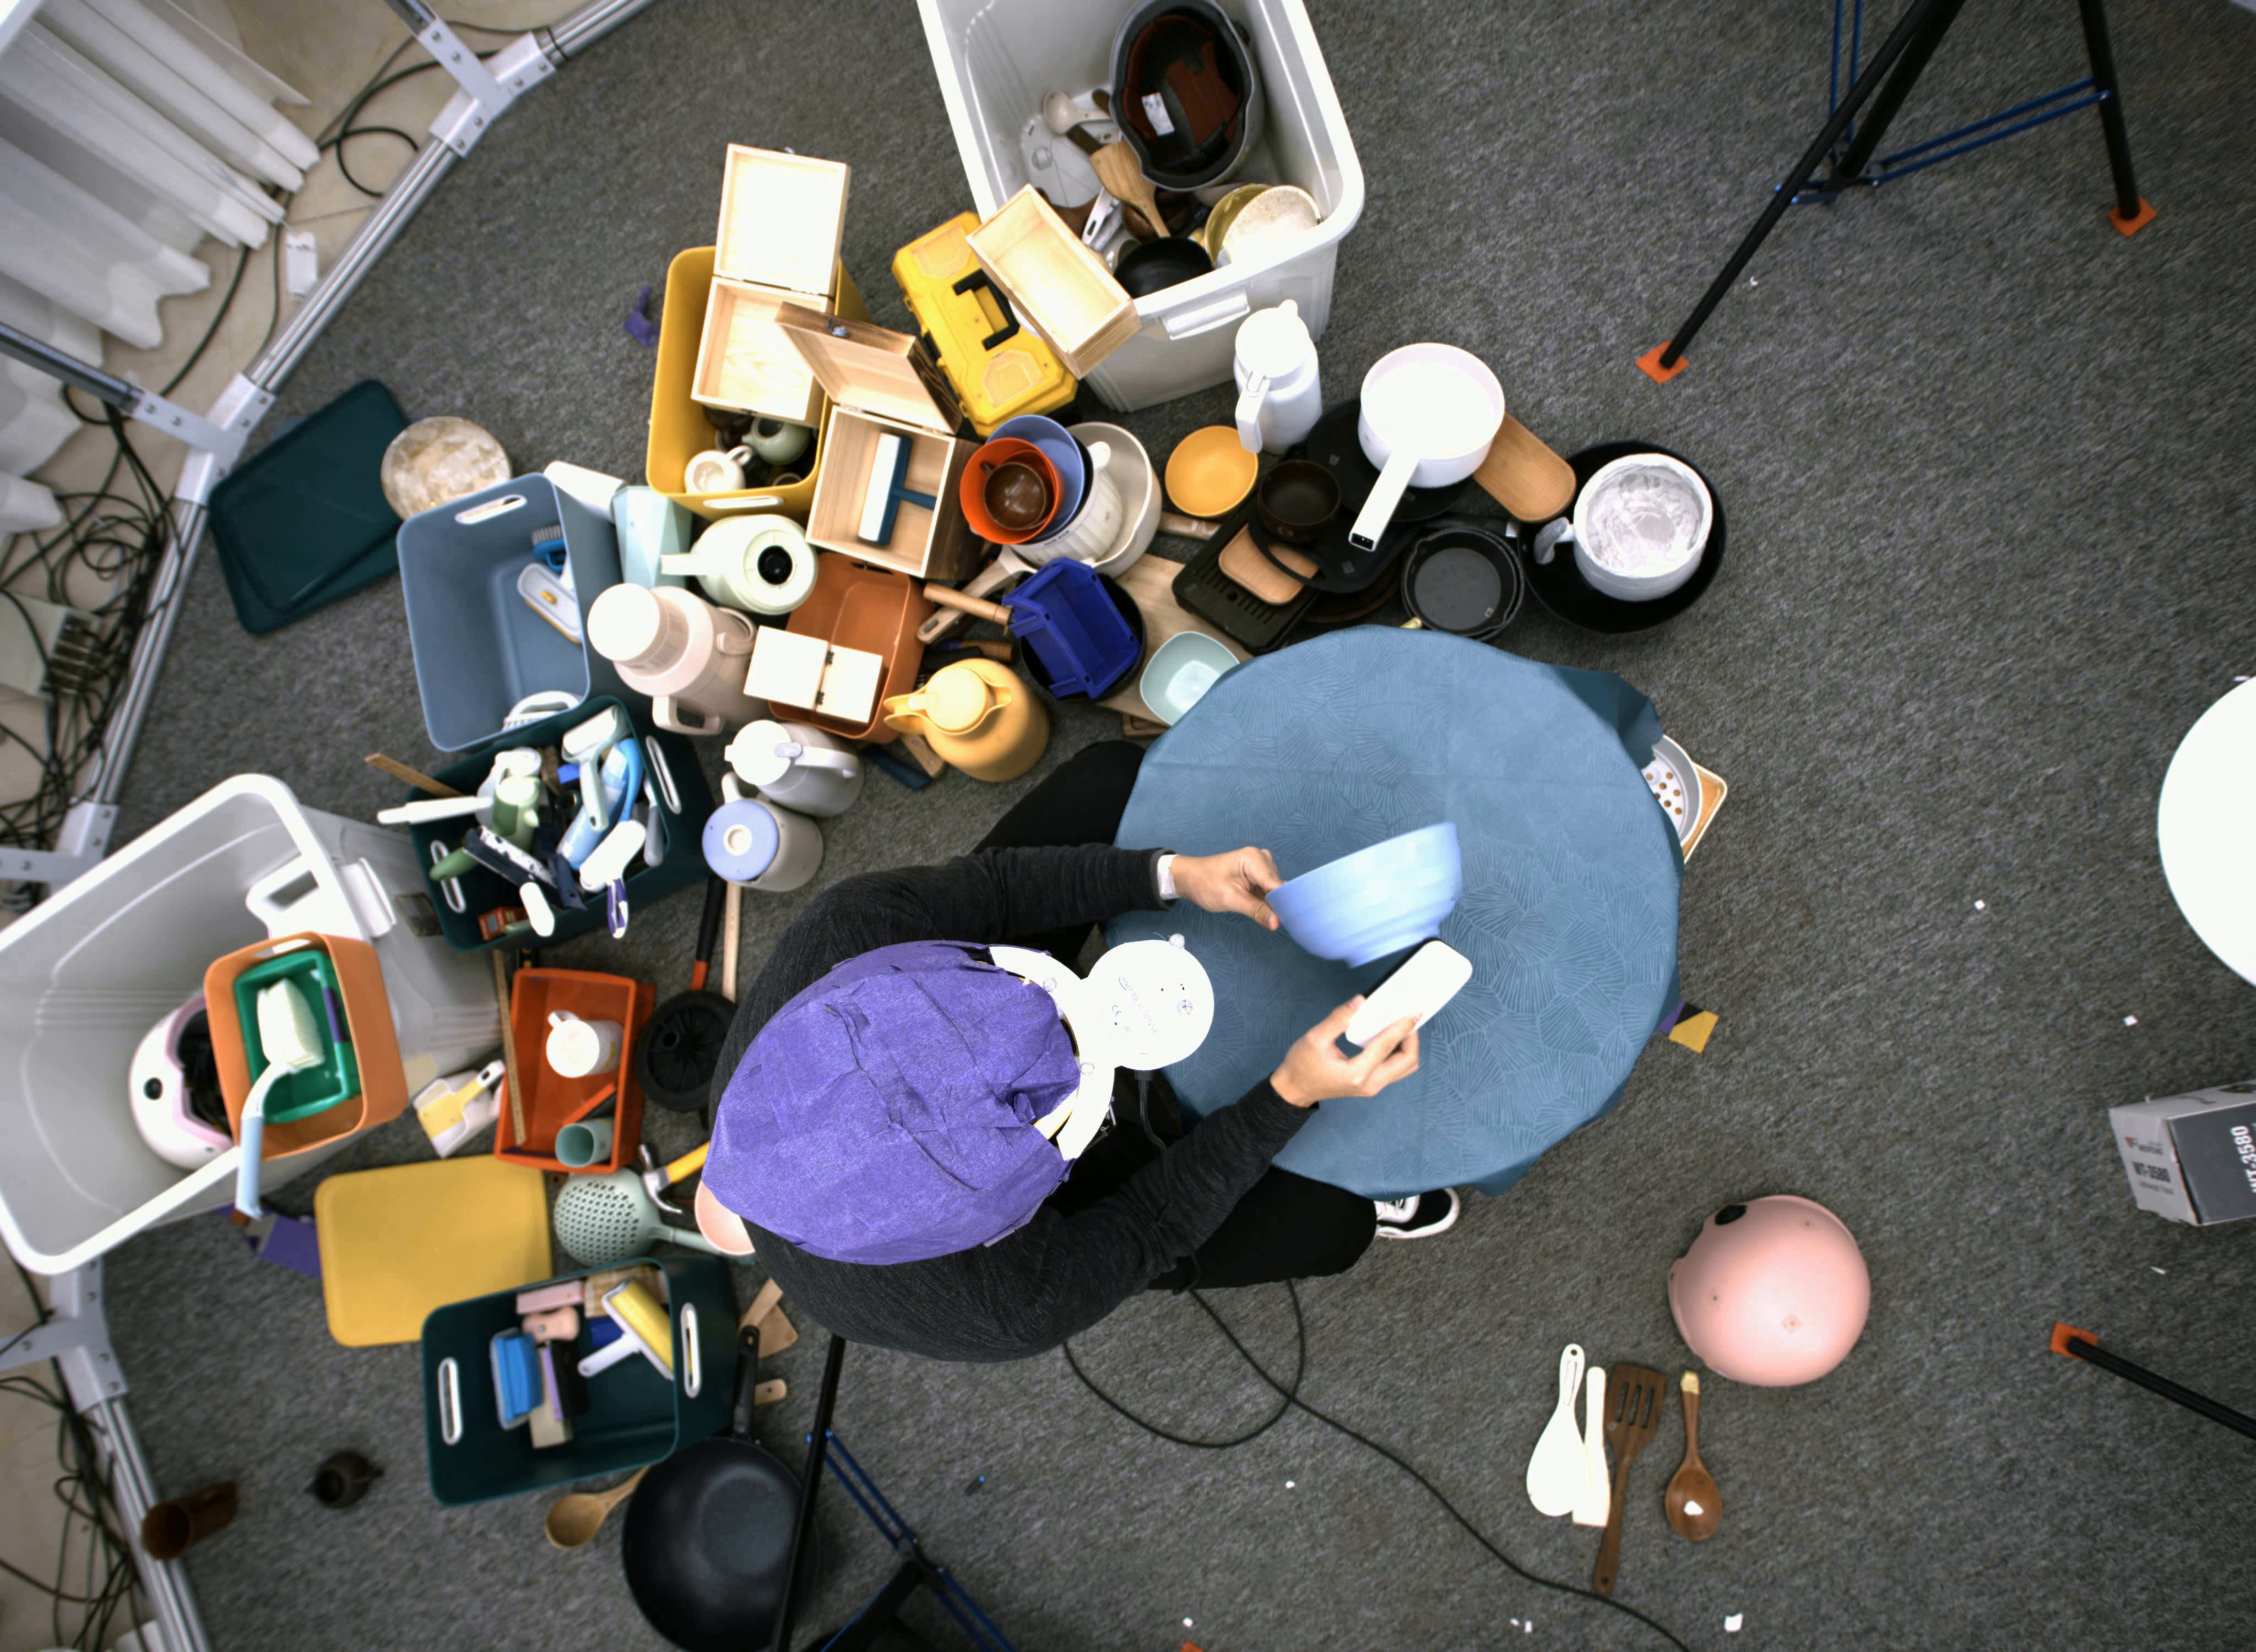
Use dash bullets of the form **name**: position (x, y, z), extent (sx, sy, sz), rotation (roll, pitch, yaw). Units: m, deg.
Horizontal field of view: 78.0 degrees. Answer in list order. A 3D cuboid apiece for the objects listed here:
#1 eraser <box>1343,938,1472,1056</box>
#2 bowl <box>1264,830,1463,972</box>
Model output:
- **eraser**: position (0.263, 0.162, 1.307), extent (0.133, 0.064, 0.034), rotation (-46, 38, 19)
- **bowl**: position (0.238, 0.080, 1.327), extent (0.197, 0.197, 0.095), rotation (-20, 82, 8)
